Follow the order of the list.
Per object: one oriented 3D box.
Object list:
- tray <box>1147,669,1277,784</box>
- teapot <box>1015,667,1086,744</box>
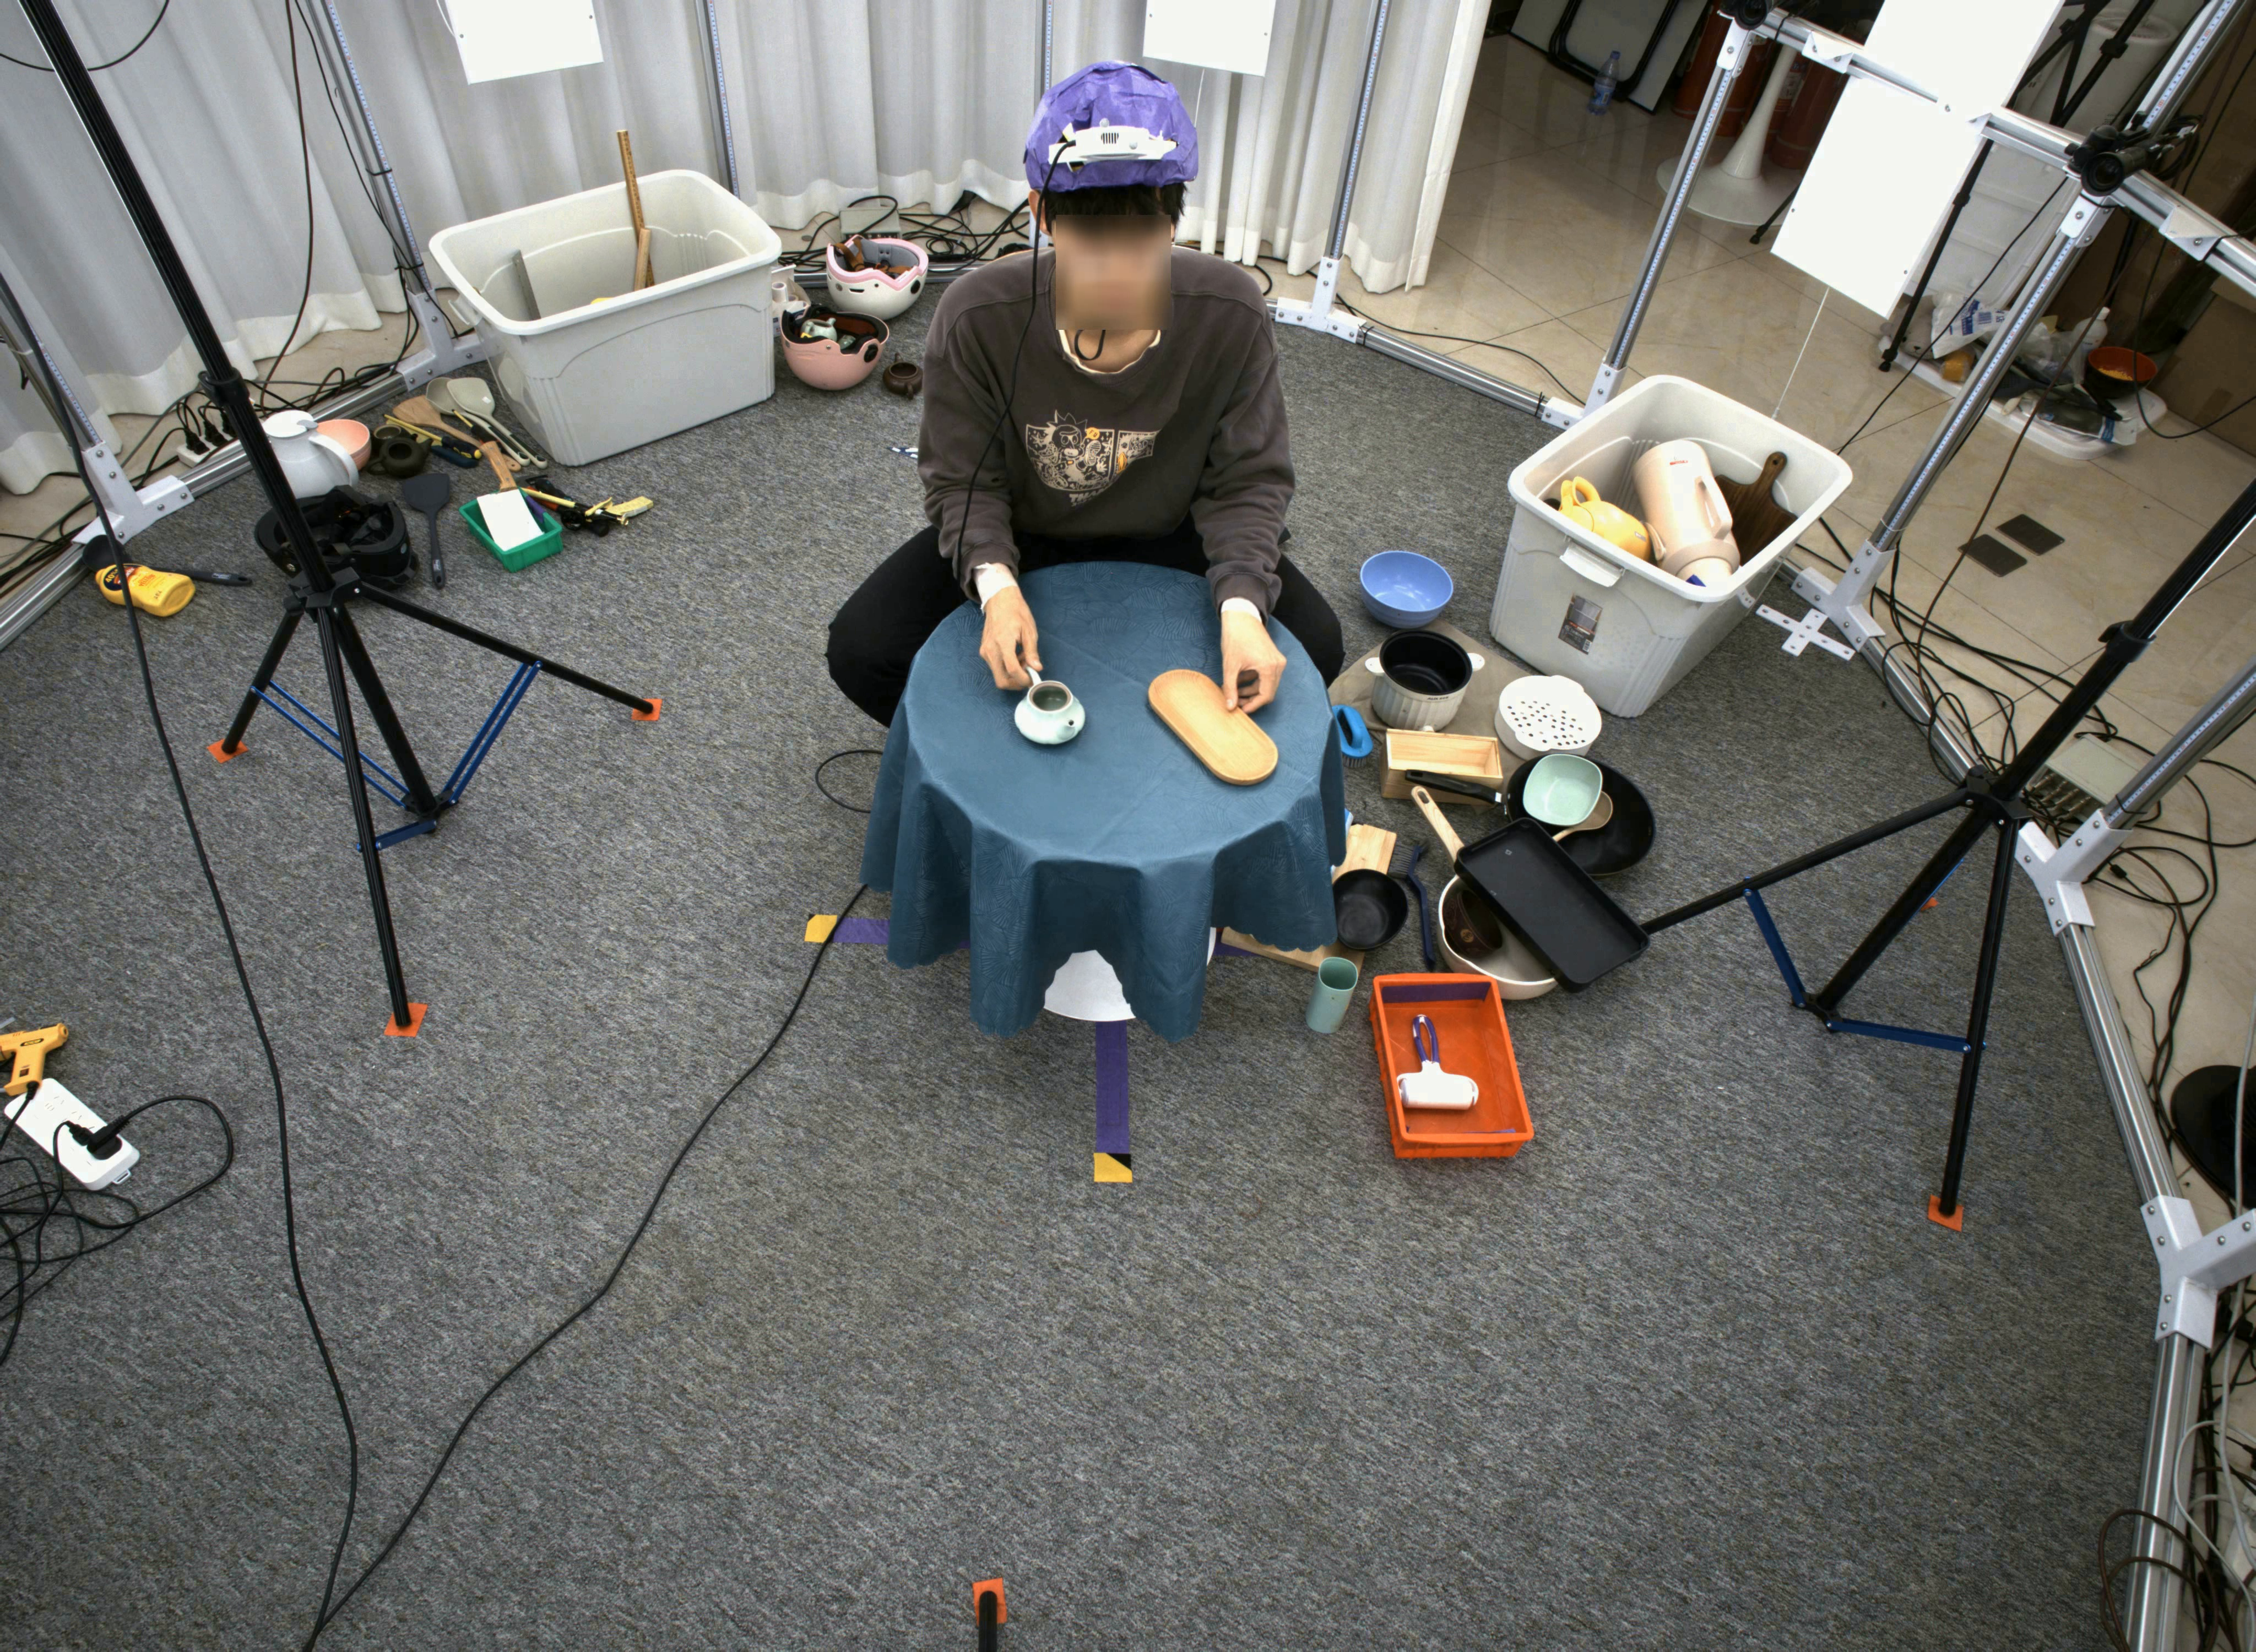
[{"bbox_3d":[0.115,-0.140,1.783,0.102,0.020,0.236,-26,54,-24],"label":"tray"},{"bbox_3d":[-0.109,-0.162,1.761,0.096,0.060,0.139,-26,55,-21],"label":"teapot"}]
